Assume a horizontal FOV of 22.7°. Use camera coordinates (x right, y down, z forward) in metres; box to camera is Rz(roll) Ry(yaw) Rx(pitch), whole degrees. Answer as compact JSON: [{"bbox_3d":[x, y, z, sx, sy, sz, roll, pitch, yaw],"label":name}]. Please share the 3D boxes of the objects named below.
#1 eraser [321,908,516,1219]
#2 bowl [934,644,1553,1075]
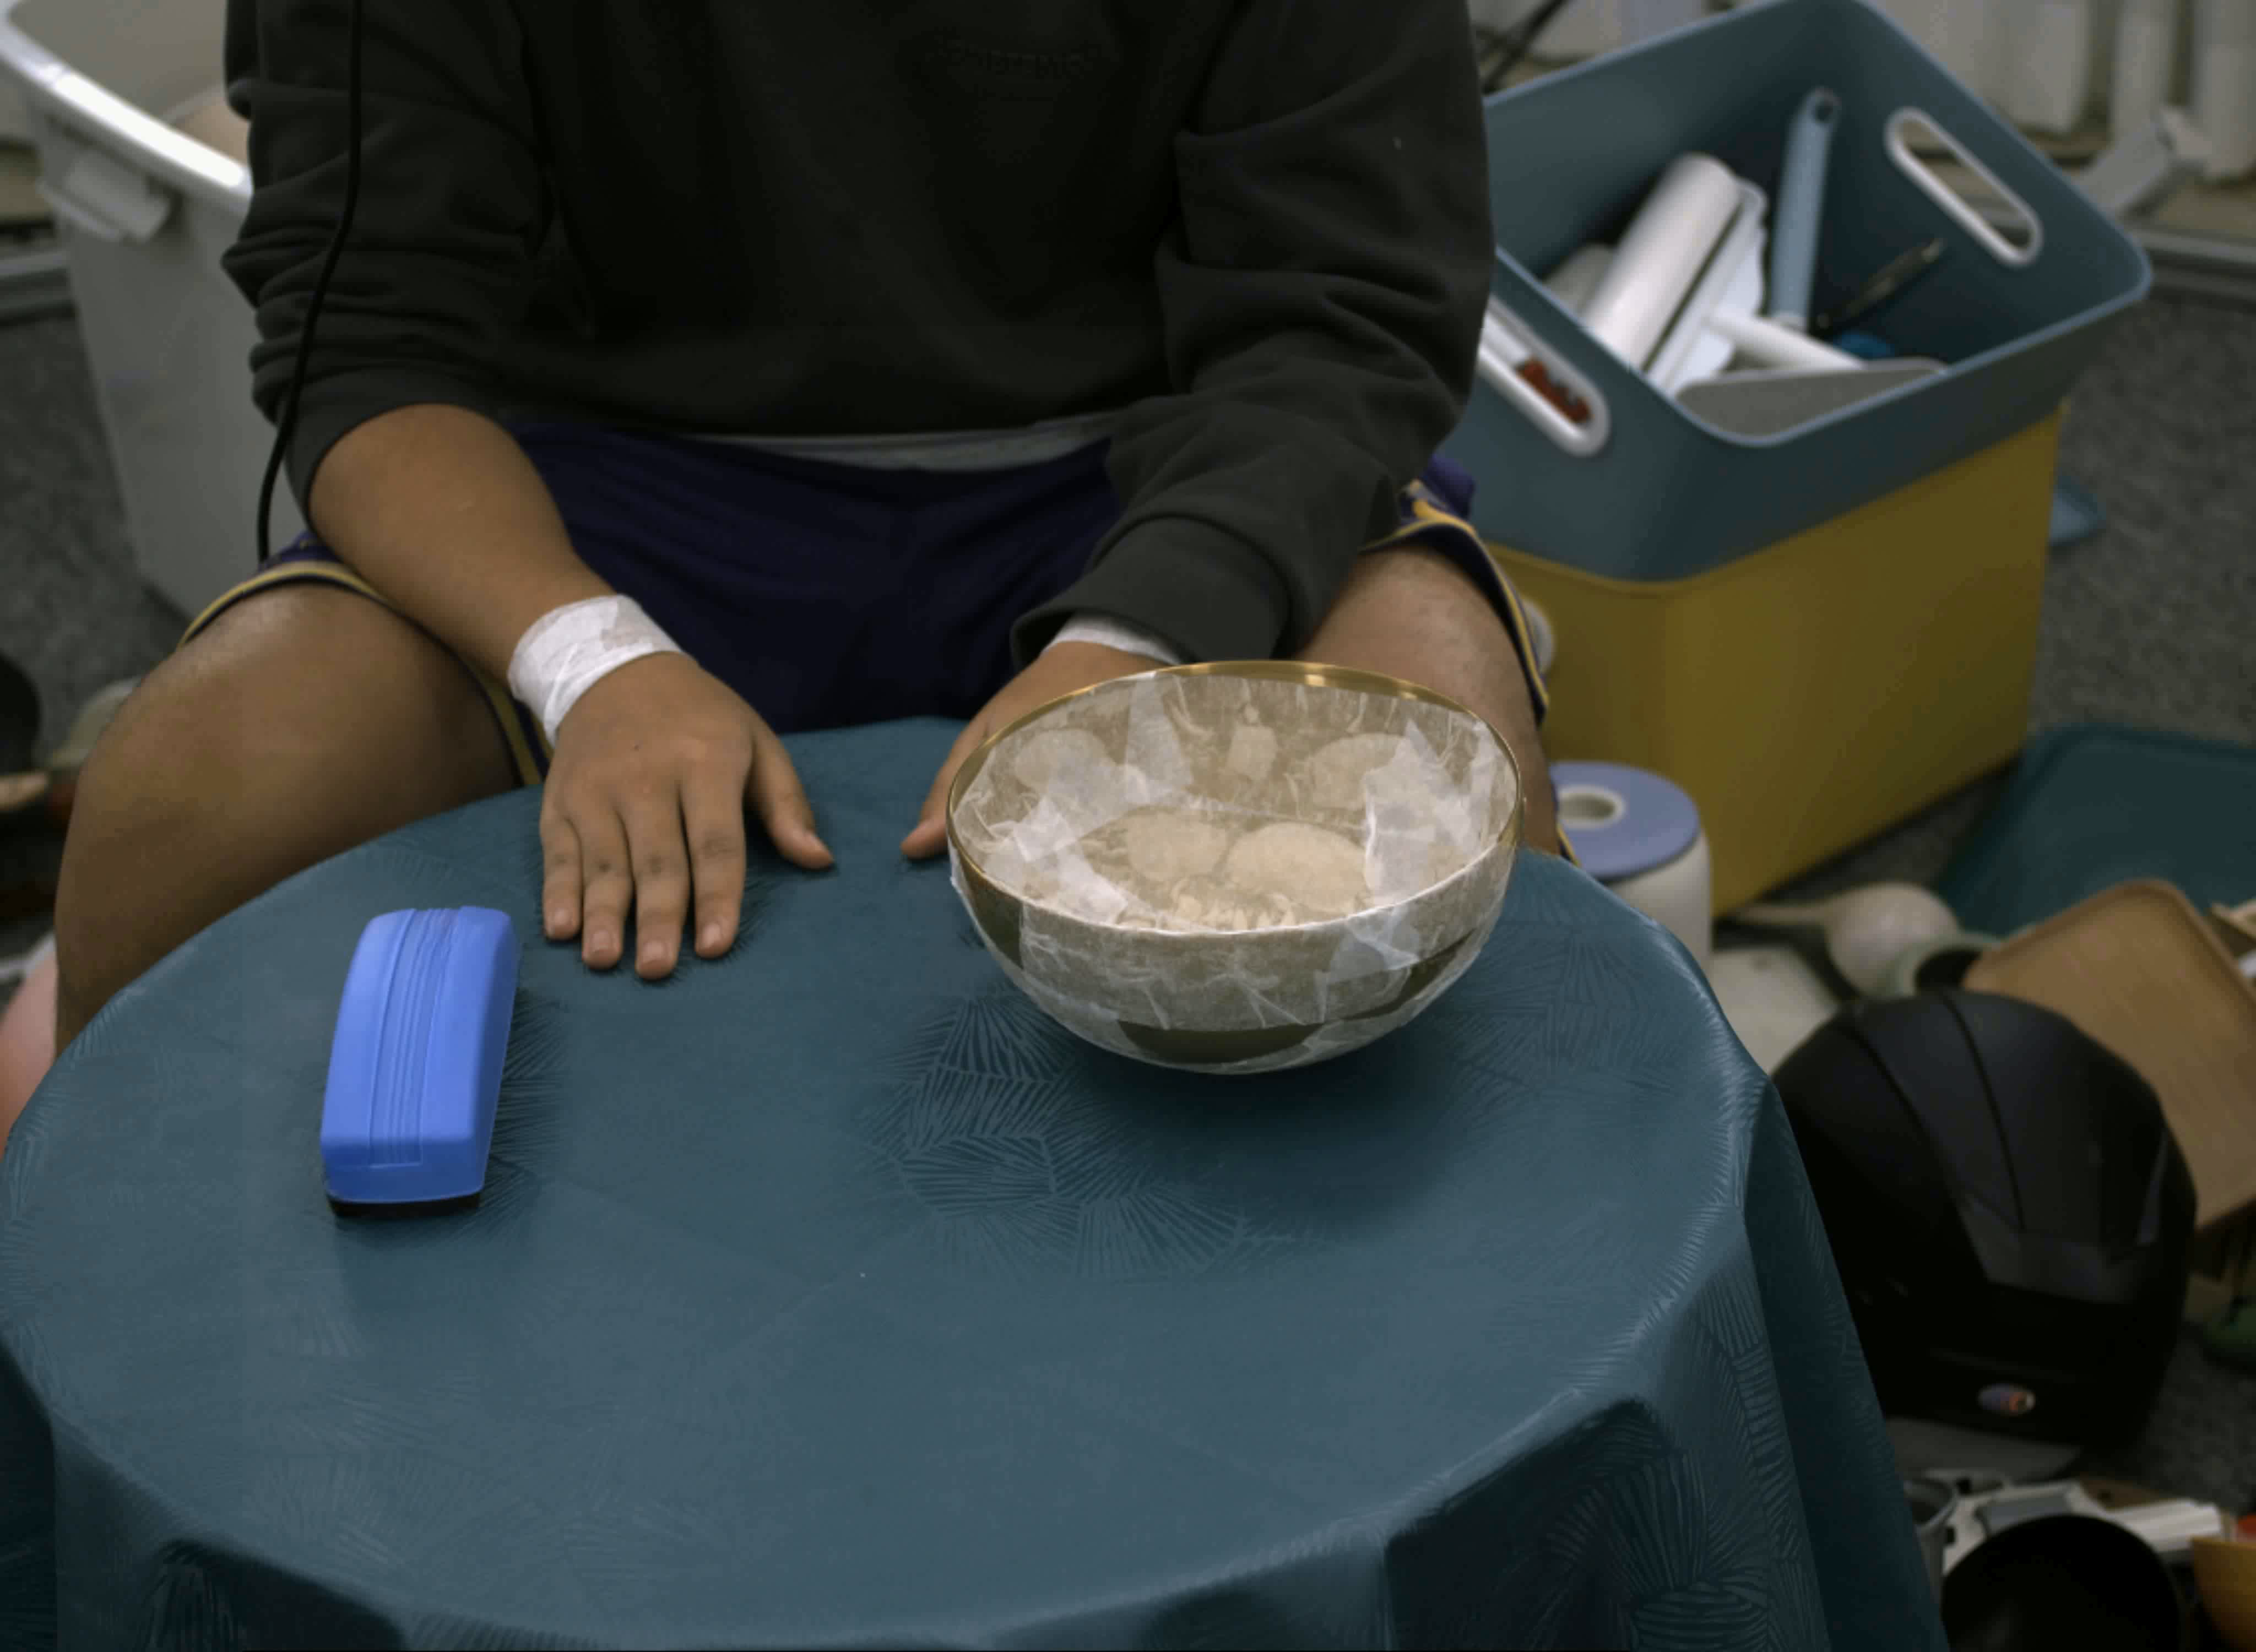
[{"bbox_3d":[-0.243,0.075,1.927,0.053,0.047,0.164,-5,27,1],"label":"eraser"},{"bbox_3d":[0.040,0.024,1.946,0.213,0.093,0.218,-3,28,2],"label":"bowl"}]
